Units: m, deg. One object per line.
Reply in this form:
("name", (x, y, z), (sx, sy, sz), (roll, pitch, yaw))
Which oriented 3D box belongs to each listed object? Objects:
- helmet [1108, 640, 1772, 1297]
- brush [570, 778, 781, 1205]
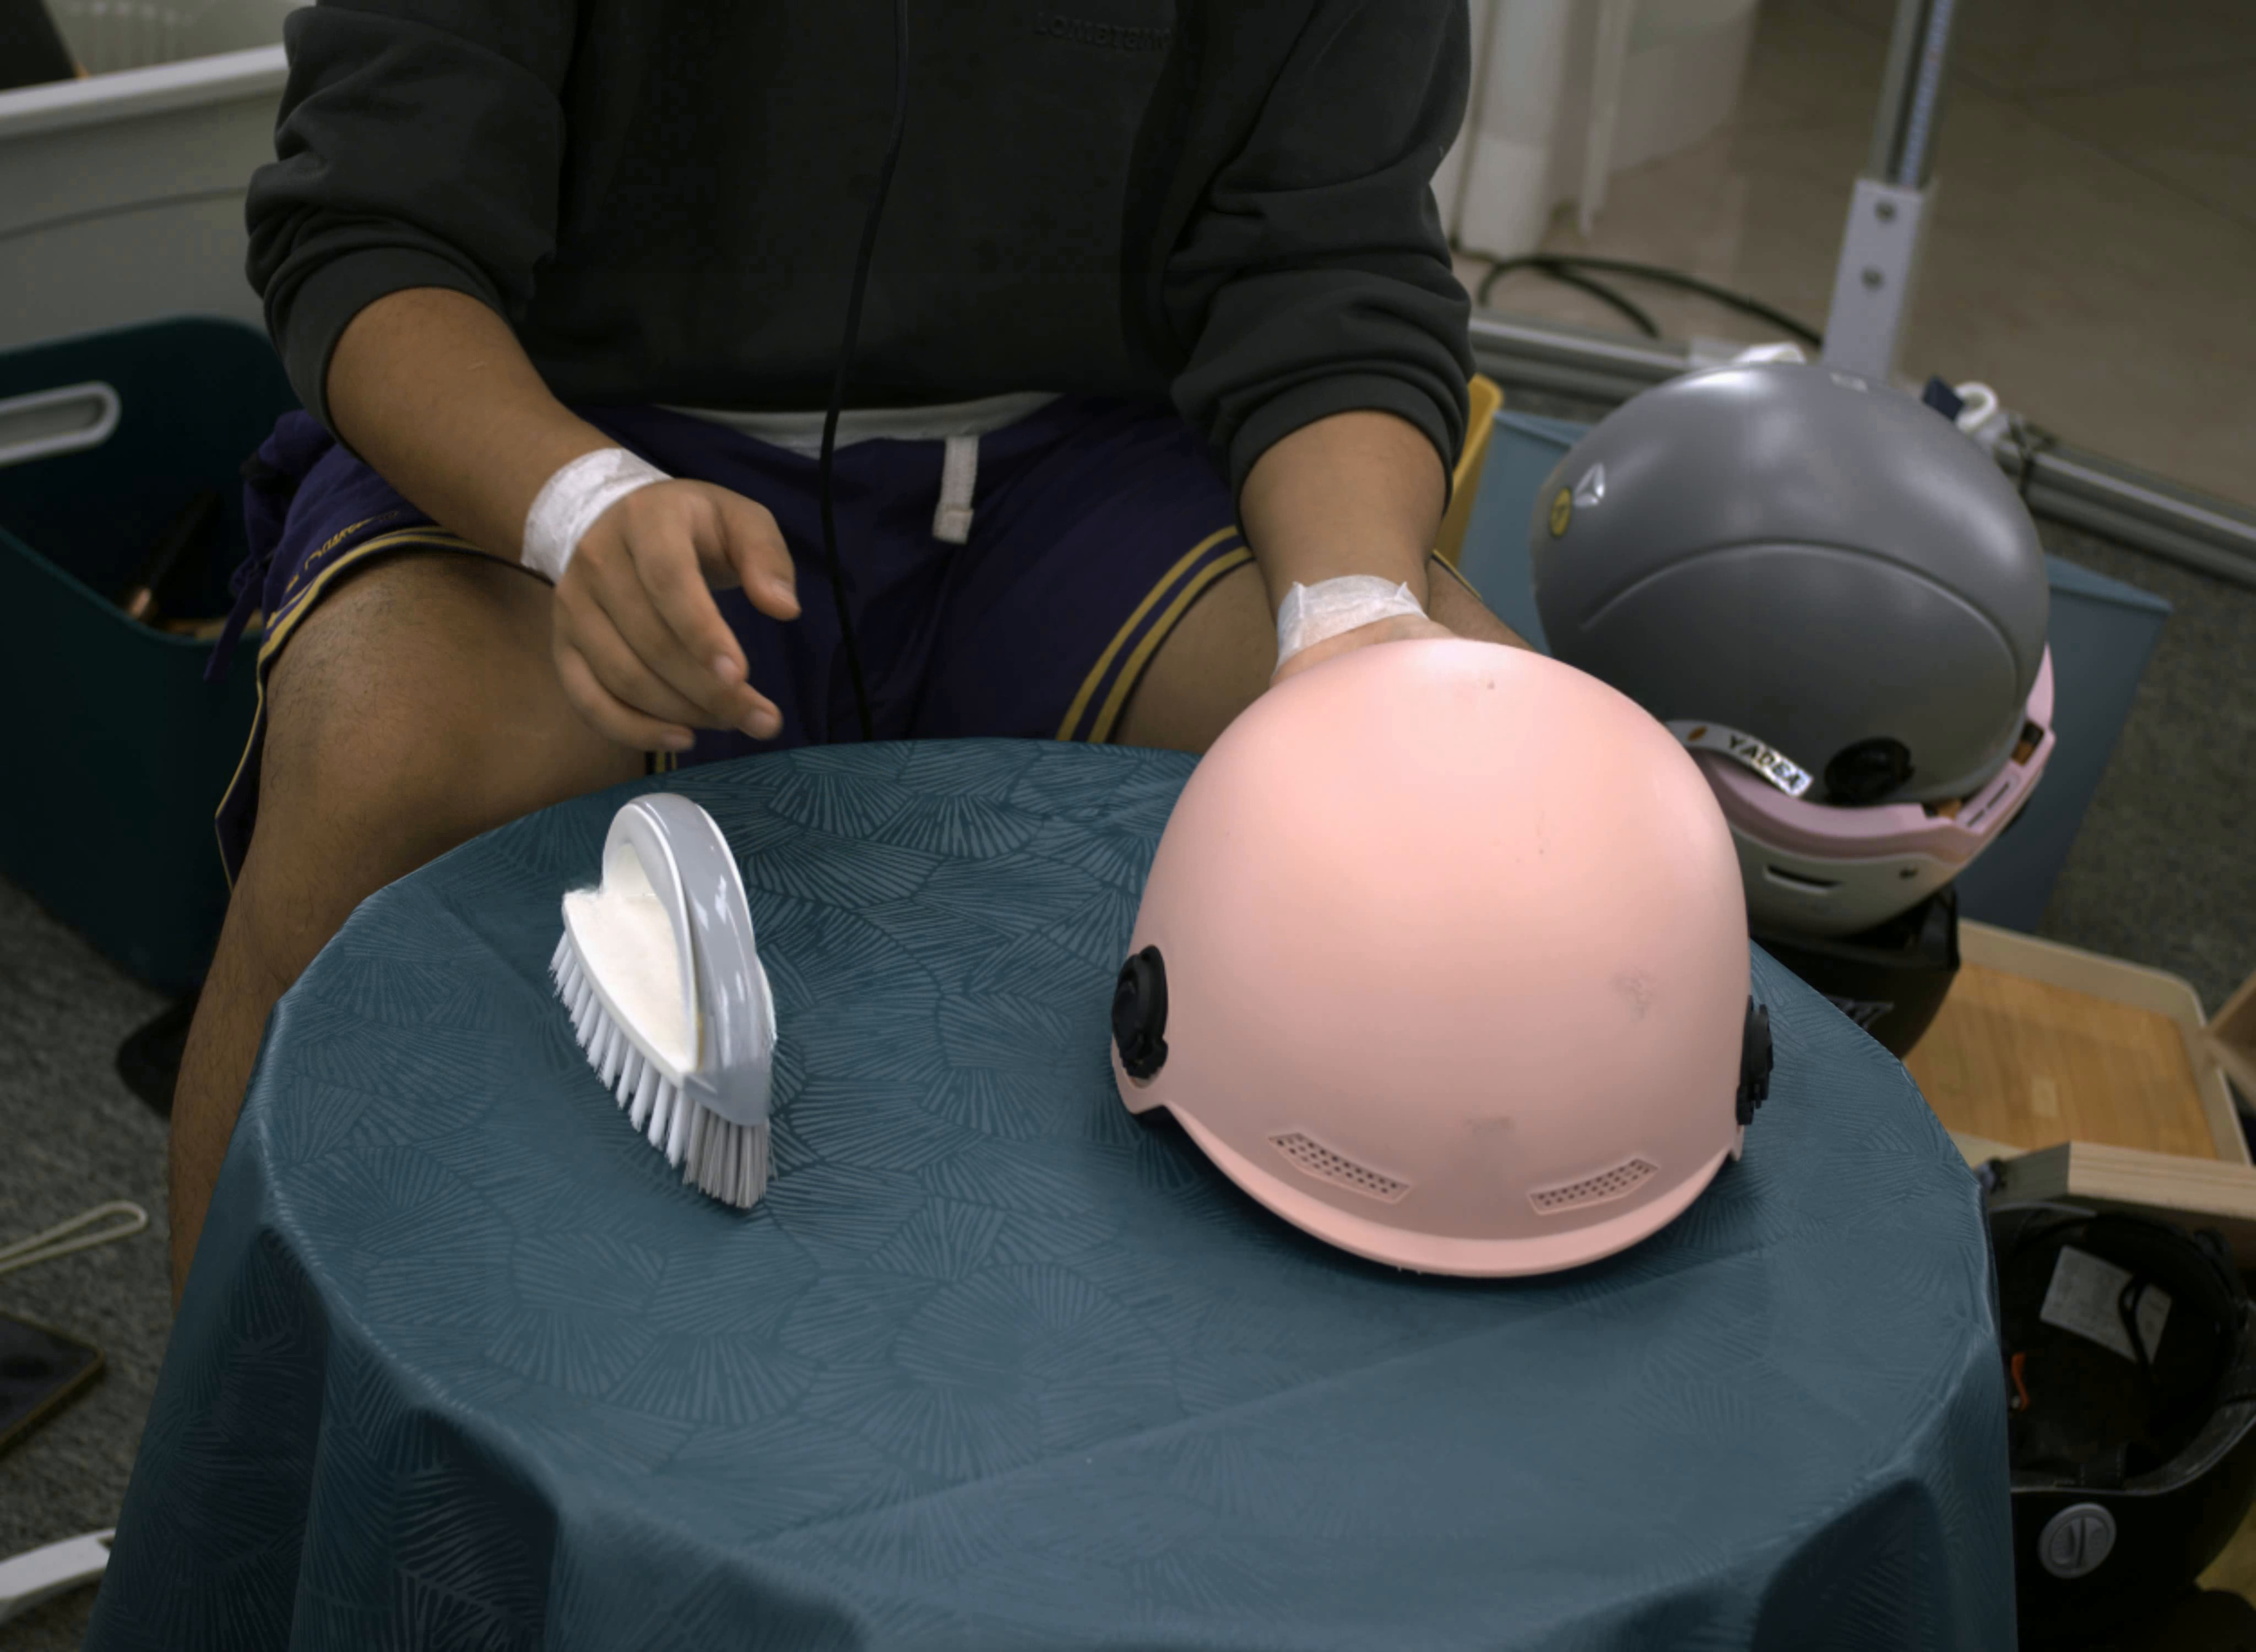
("helmet", (0.113, 0.030, 1.846), (0.233, 0.158, 0.268), (5, 31, -5))
("brush", (-0.147, 0.048, 1.816), (0.061, 0.094, 0.177), (-3, 31, -18))
